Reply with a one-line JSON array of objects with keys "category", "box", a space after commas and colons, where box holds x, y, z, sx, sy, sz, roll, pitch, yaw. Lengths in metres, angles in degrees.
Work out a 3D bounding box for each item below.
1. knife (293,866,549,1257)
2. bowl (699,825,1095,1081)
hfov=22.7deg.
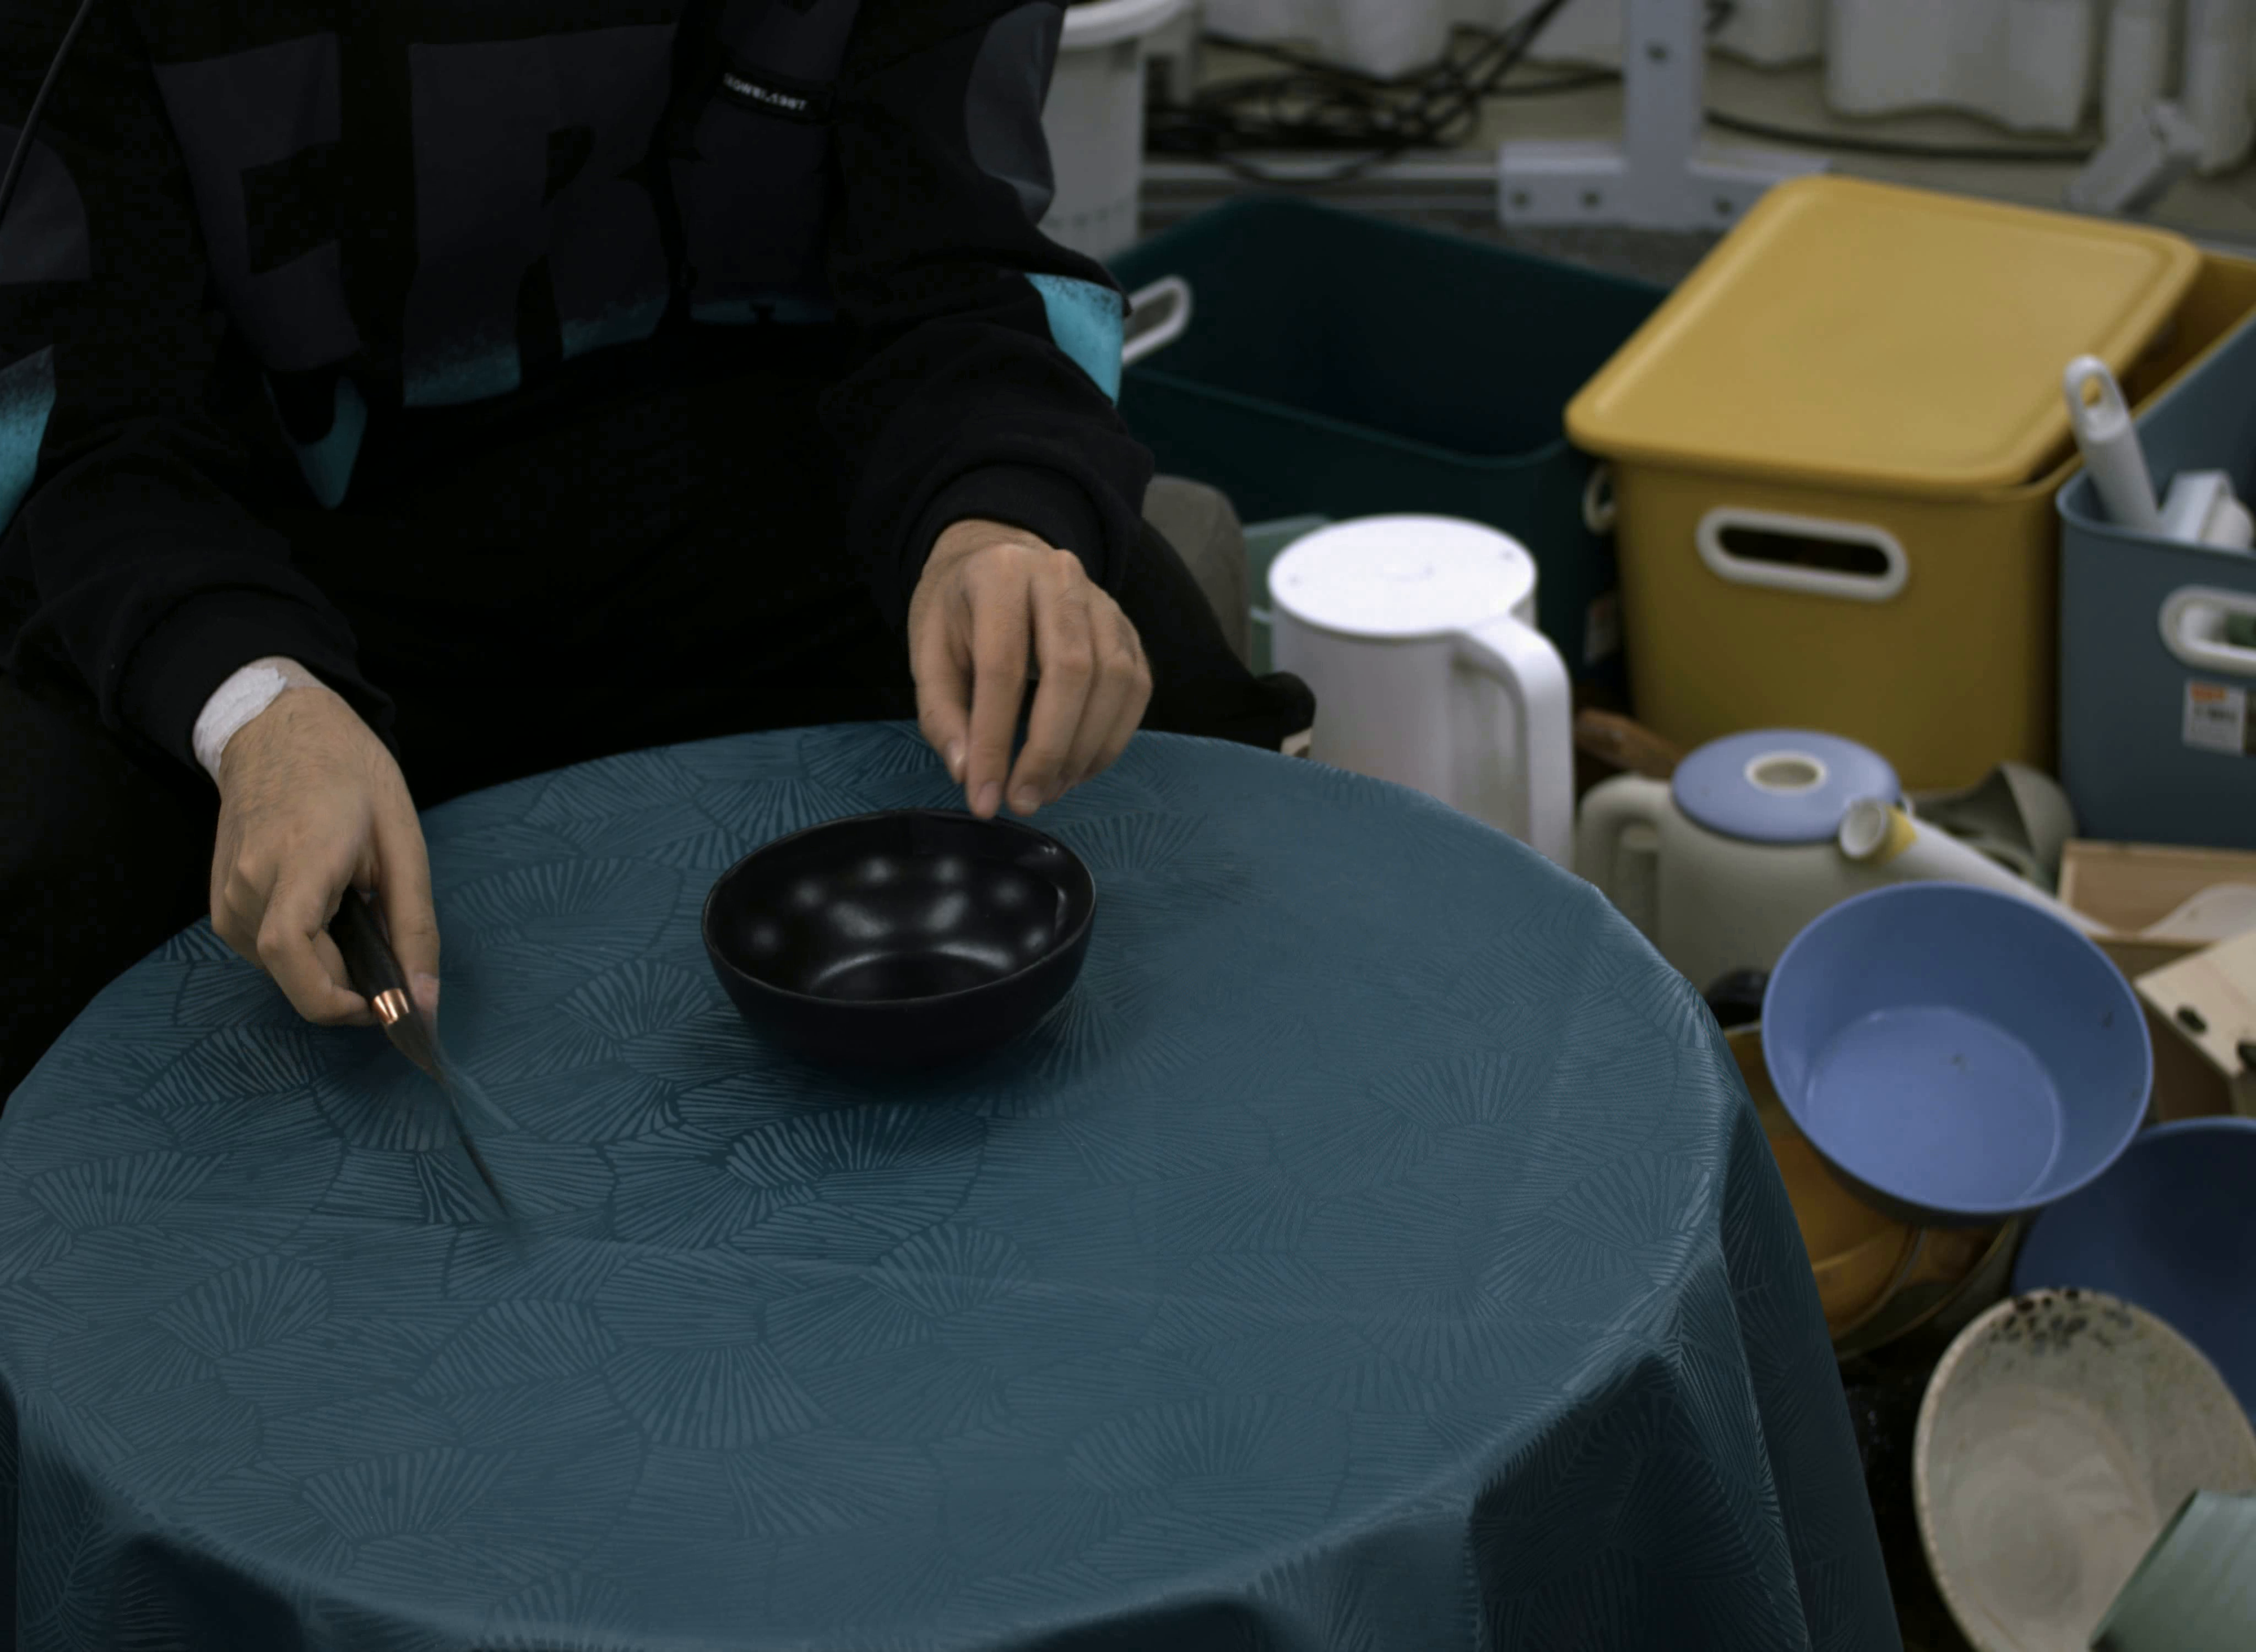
[{"category": "knife", "box": [-0.243, 0.079, 1.920, 0.017, 0.026, 0.227, -34, 42, -5]}, {"category": "bowl", "box": [-0.078, 0.051, 1.959, 0.139, 0.049, 0.142, -5, 24, 3]}]
